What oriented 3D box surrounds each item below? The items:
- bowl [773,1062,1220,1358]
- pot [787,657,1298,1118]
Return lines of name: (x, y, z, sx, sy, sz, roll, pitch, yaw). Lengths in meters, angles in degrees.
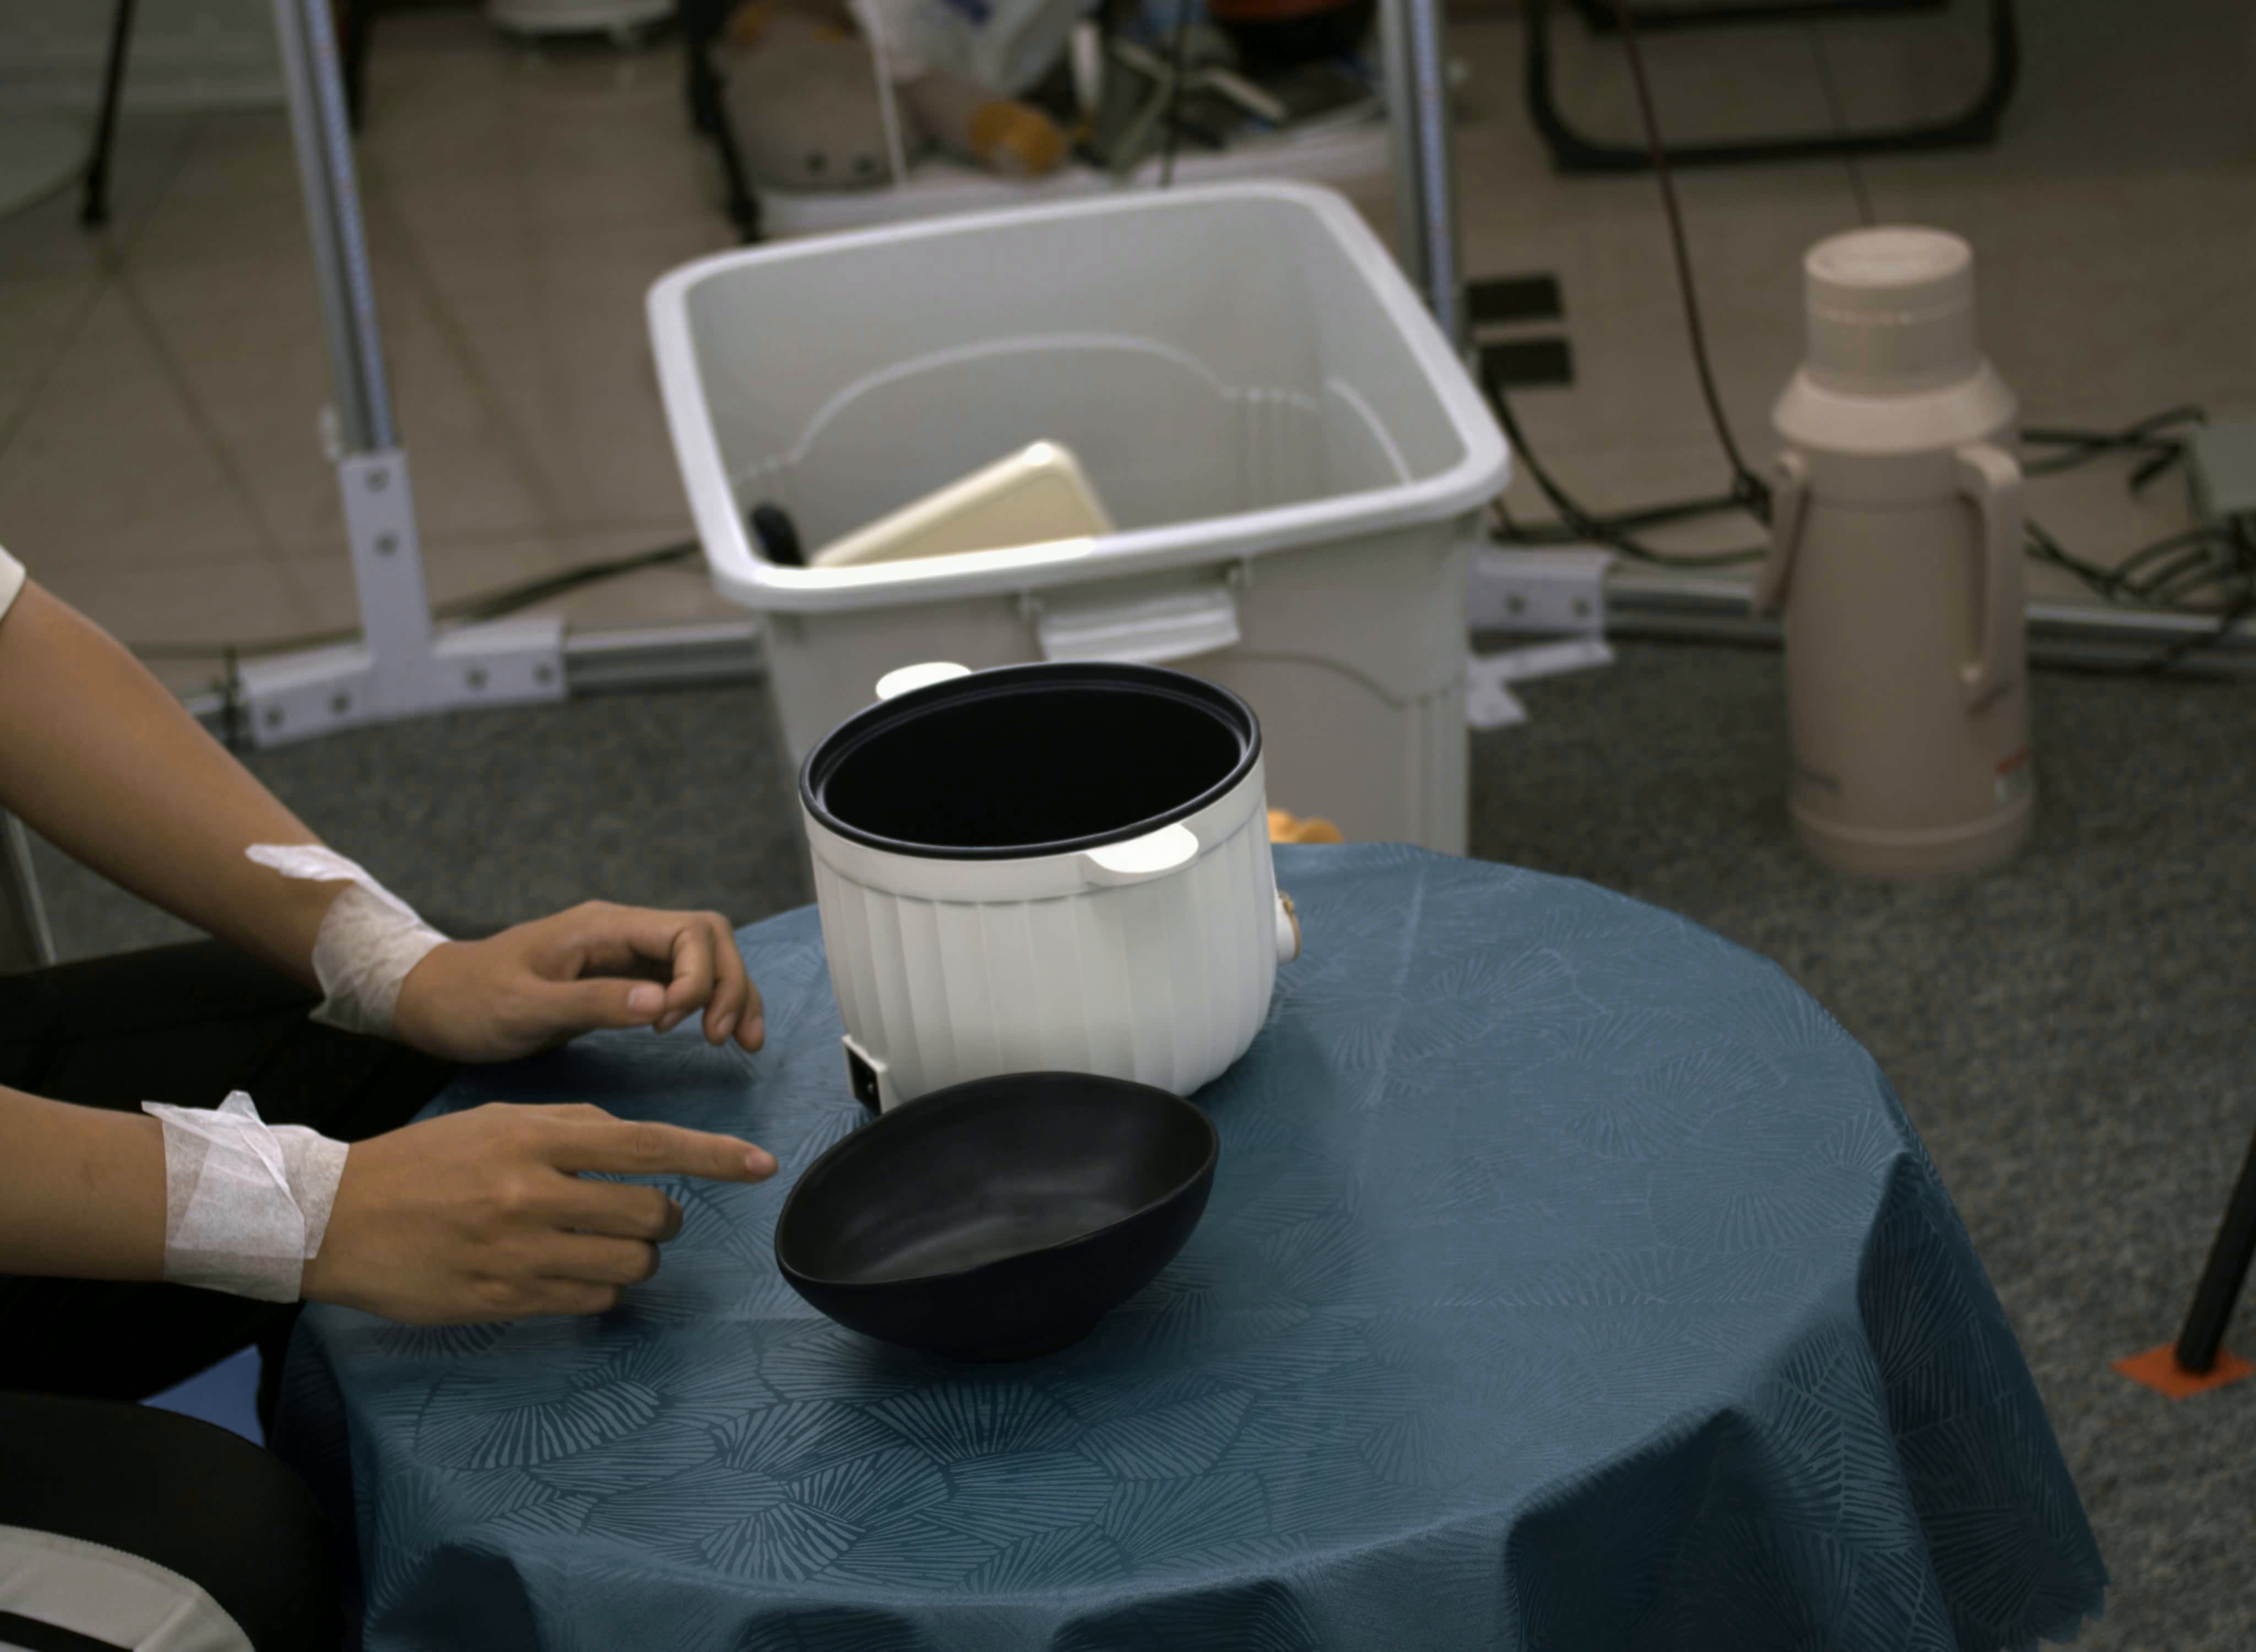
bowl: (-0.044, 0.149, 2.060, 0.169, 0.068, 0.136, -19, 28, -23)
pot: (-0.028, 0.029, 2.227, 0.189, 0.145, 0.237, -21, 29, -20)
